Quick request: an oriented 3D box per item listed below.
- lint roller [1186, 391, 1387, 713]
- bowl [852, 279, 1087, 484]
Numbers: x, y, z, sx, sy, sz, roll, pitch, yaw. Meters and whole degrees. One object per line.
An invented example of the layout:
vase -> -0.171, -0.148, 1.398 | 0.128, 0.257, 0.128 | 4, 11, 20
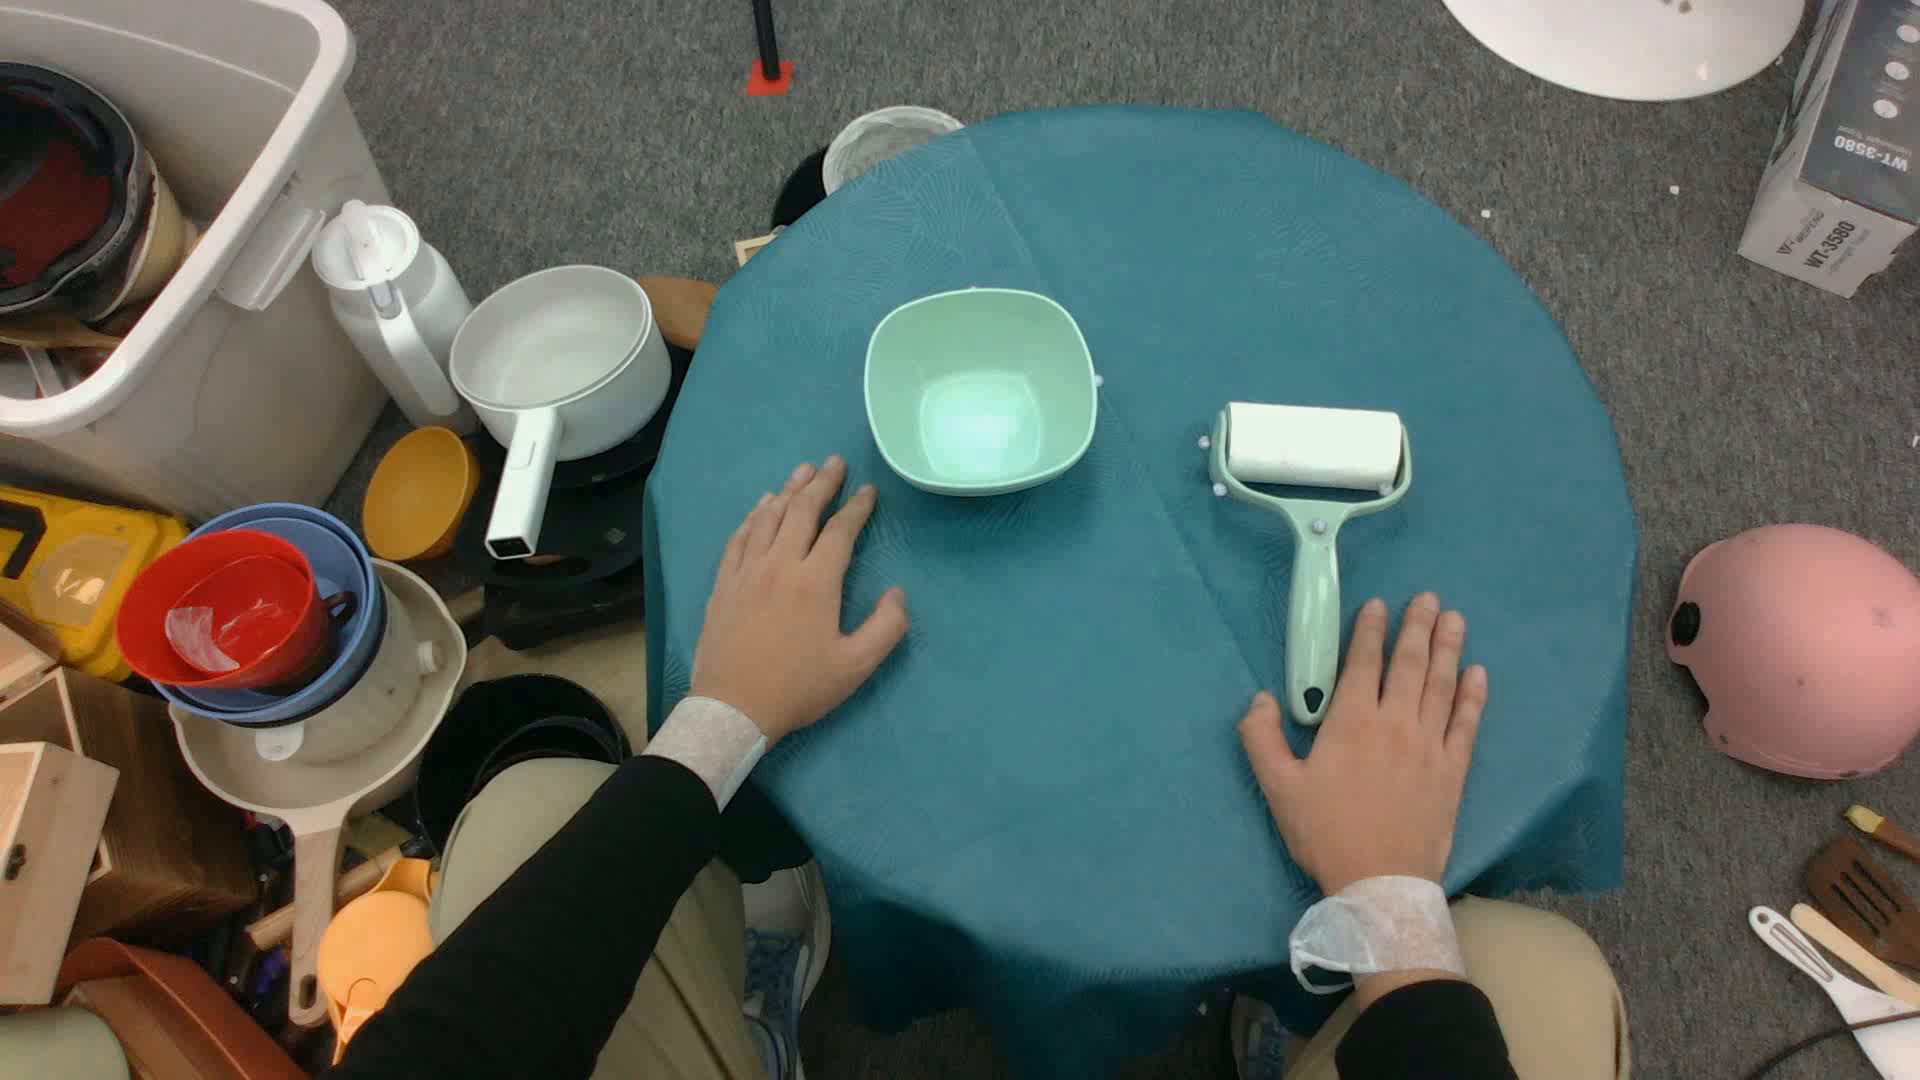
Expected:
lint roller -> 0.193, 0.002, 0.809 | 0.116, 0.048, 0.198 | 4, 66, 0
bowl -> 0.005, -0.087, 0.843 | 0.151, 0.058, 0.152 | 1, 63, -1
